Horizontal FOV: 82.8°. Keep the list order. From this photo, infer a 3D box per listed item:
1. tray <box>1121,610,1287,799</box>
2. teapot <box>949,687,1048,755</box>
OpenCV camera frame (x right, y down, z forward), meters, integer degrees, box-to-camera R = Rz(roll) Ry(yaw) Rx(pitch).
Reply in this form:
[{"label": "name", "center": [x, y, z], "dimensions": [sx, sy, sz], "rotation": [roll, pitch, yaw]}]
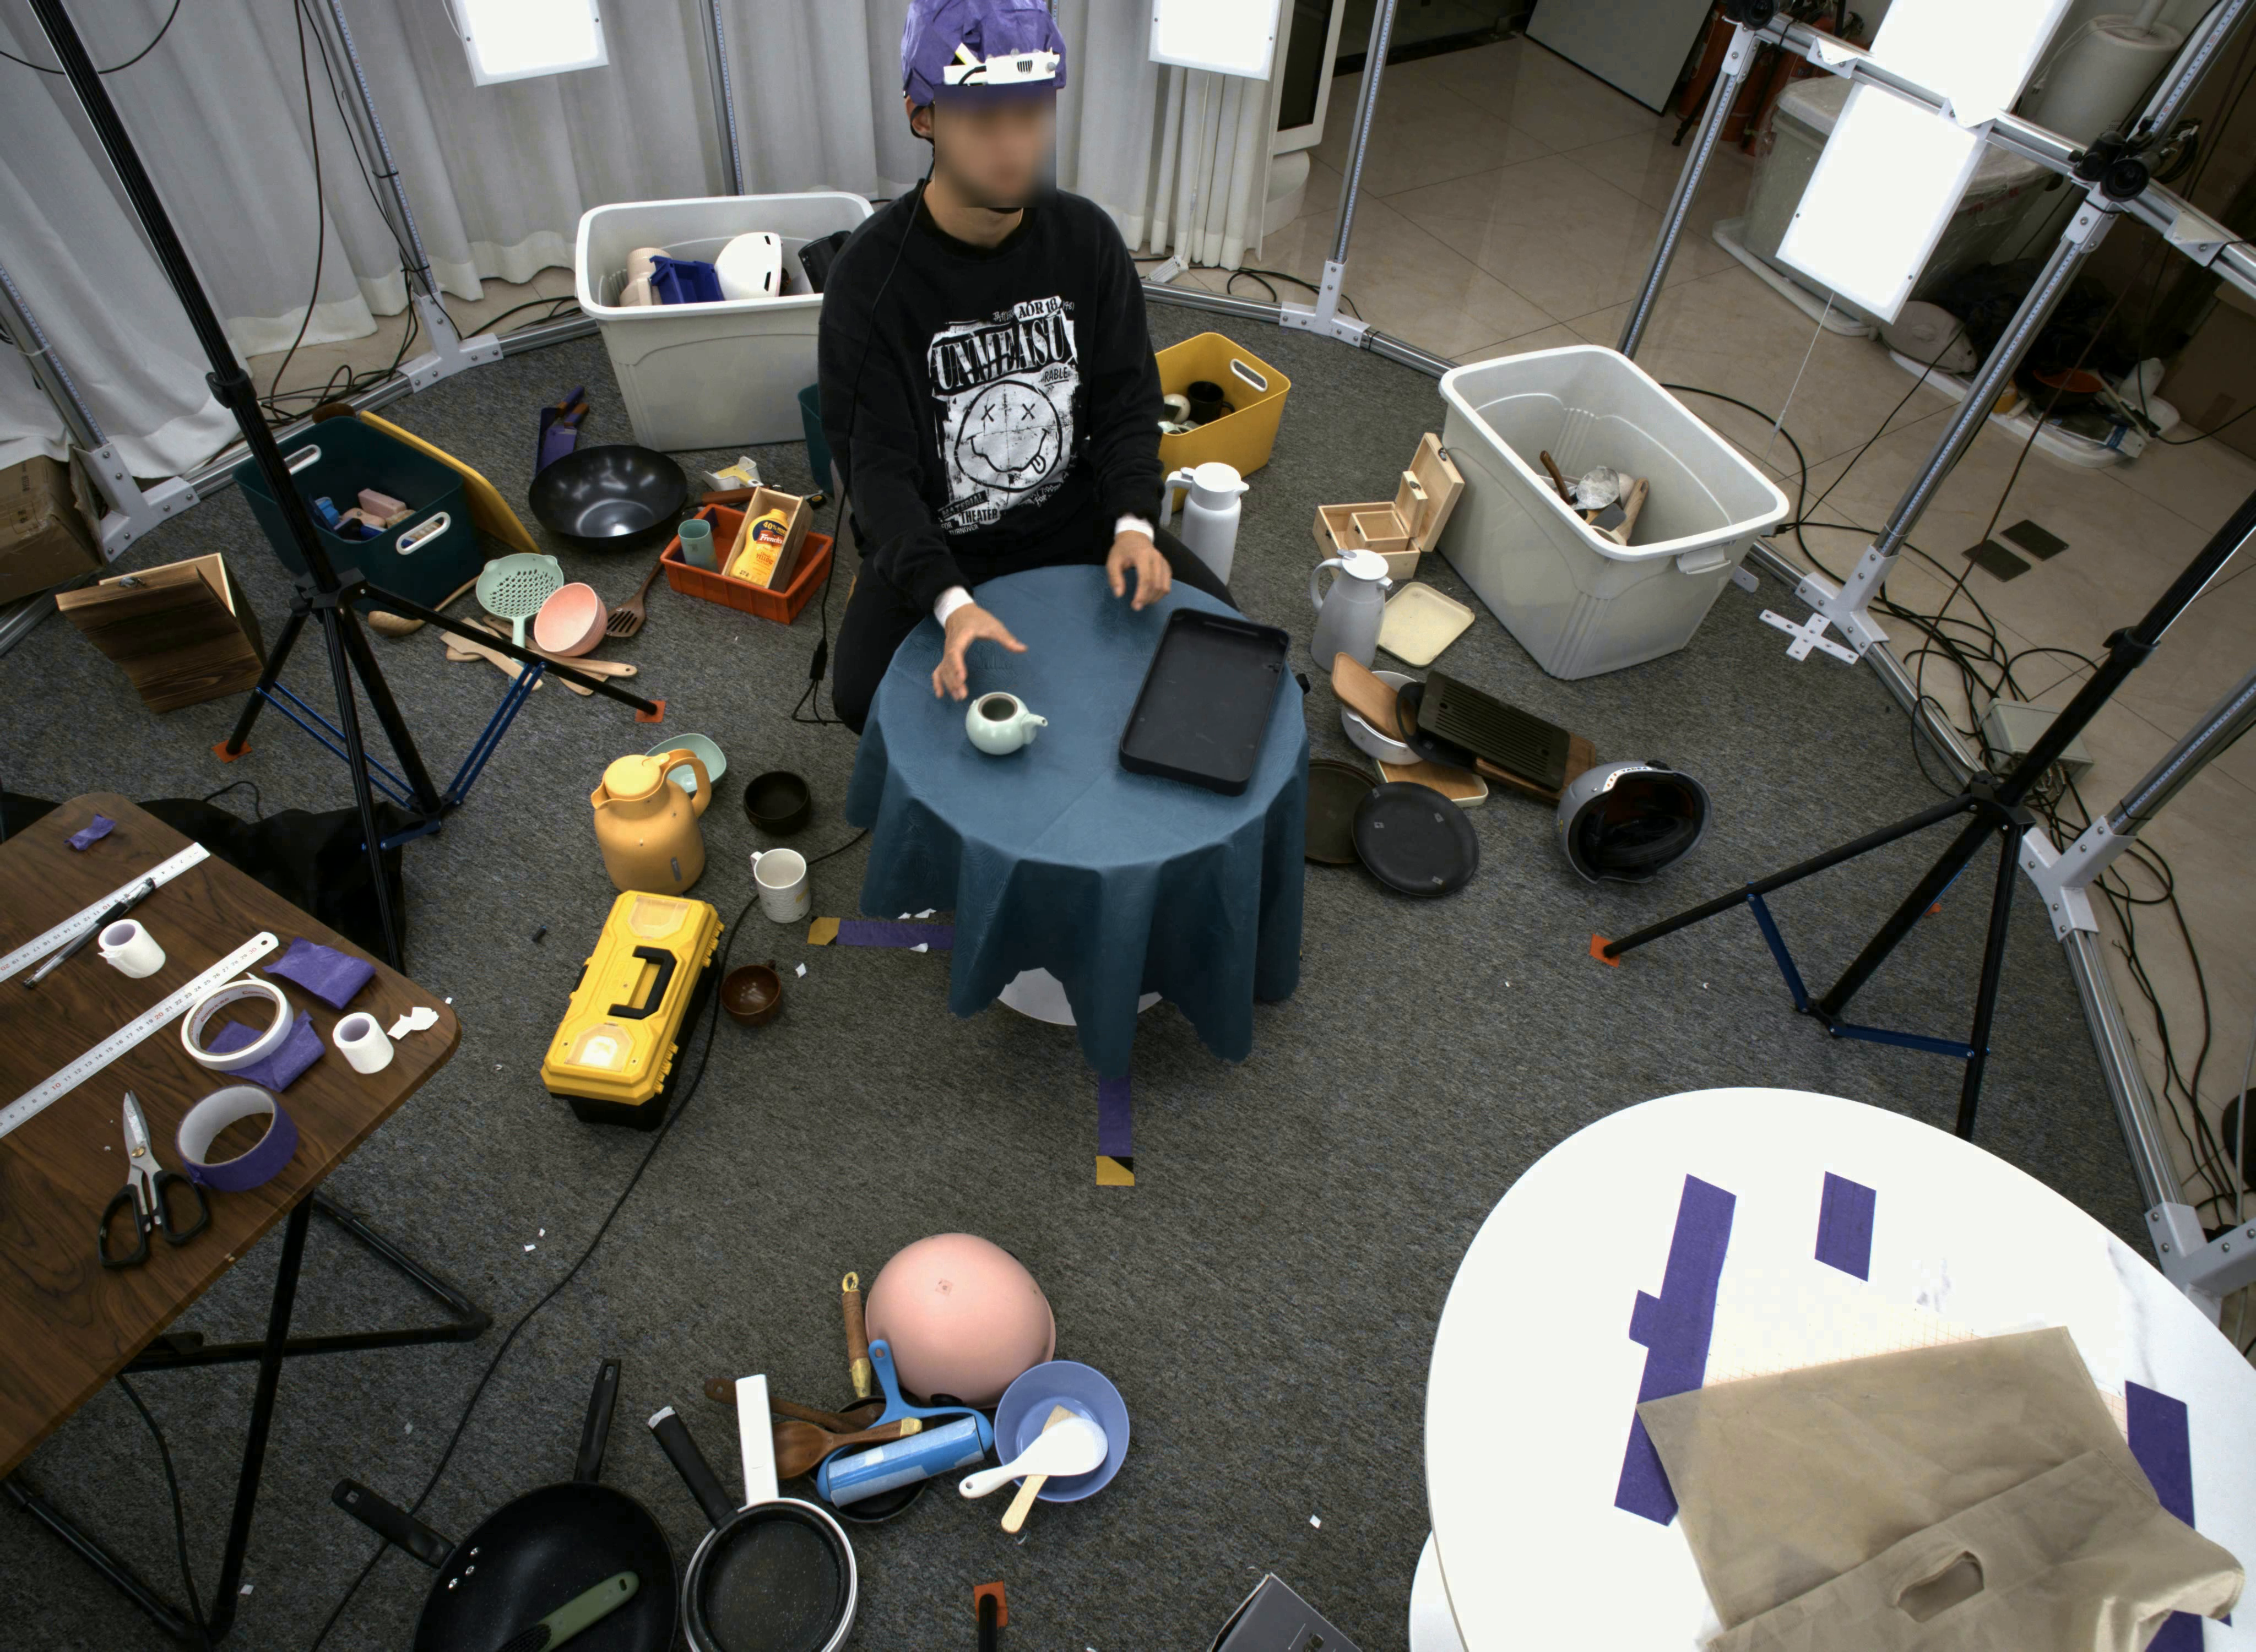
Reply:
[{"label": "tray", "center": [0.110, -0.178, 1.807], "dimensions": [0.184, 0.036, 0.325], "rotation": [12, 50, 7]}, {"label": "teapot", "center": [-0.174, -0.140, 1.733], "dimensions": [0.144, 0.073, 0.090], "rotation": [21, 51, 13]}]
